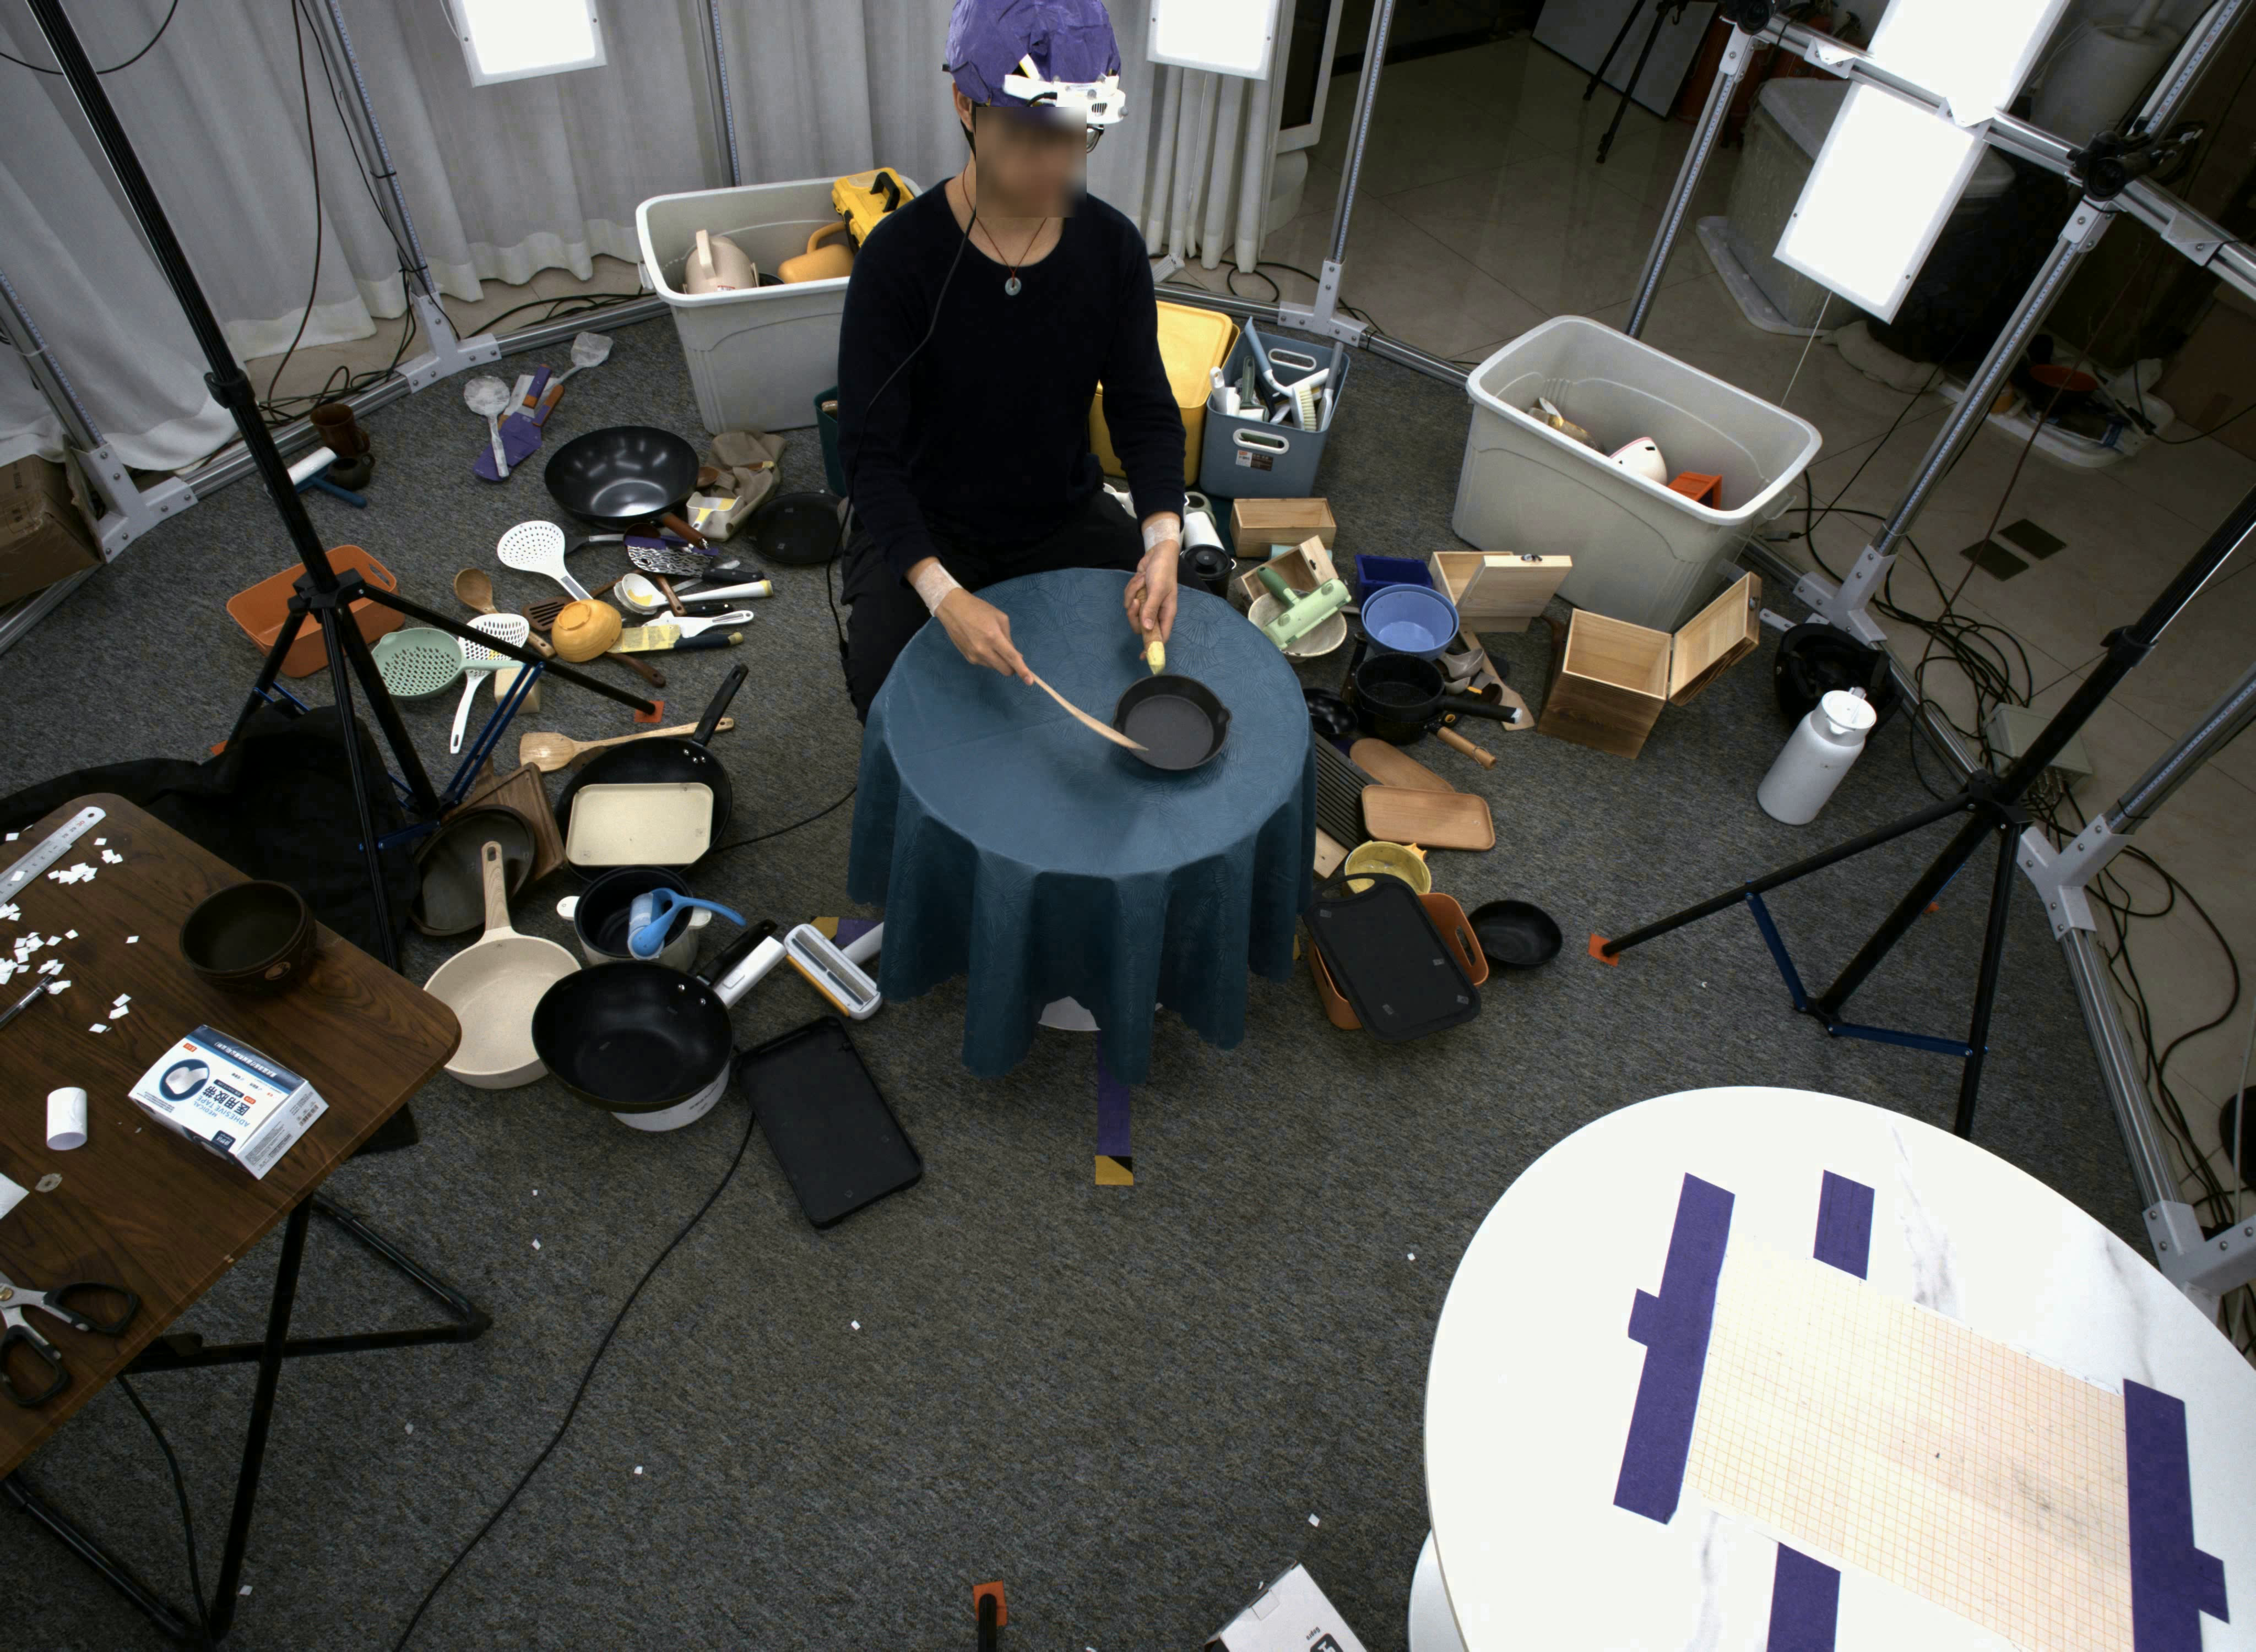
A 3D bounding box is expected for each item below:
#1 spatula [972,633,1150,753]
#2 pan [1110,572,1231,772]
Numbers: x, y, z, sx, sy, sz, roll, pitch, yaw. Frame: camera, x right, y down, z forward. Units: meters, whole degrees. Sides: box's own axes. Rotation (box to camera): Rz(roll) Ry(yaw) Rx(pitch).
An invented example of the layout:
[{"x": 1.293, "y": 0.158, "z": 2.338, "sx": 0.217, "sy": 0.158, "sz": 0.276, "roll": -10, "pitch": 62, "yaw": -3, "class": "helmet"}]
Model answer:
[{"x": -0.096, "y": -0.180, "z": 1.722, "sx": 0.332, "sy": 0.079, "sz": 0.016, "roll": 38, "pitch": 100, "yaw": 28, "class": "spatula"}, {"x": 0.046, "y": -0.215, "z": 1.794, "sx": 0.168, "sy": 0.048, "sz": 0.331, "roll": -4, "pitch": 61, "yaw": -9, "class": "pan"}]
